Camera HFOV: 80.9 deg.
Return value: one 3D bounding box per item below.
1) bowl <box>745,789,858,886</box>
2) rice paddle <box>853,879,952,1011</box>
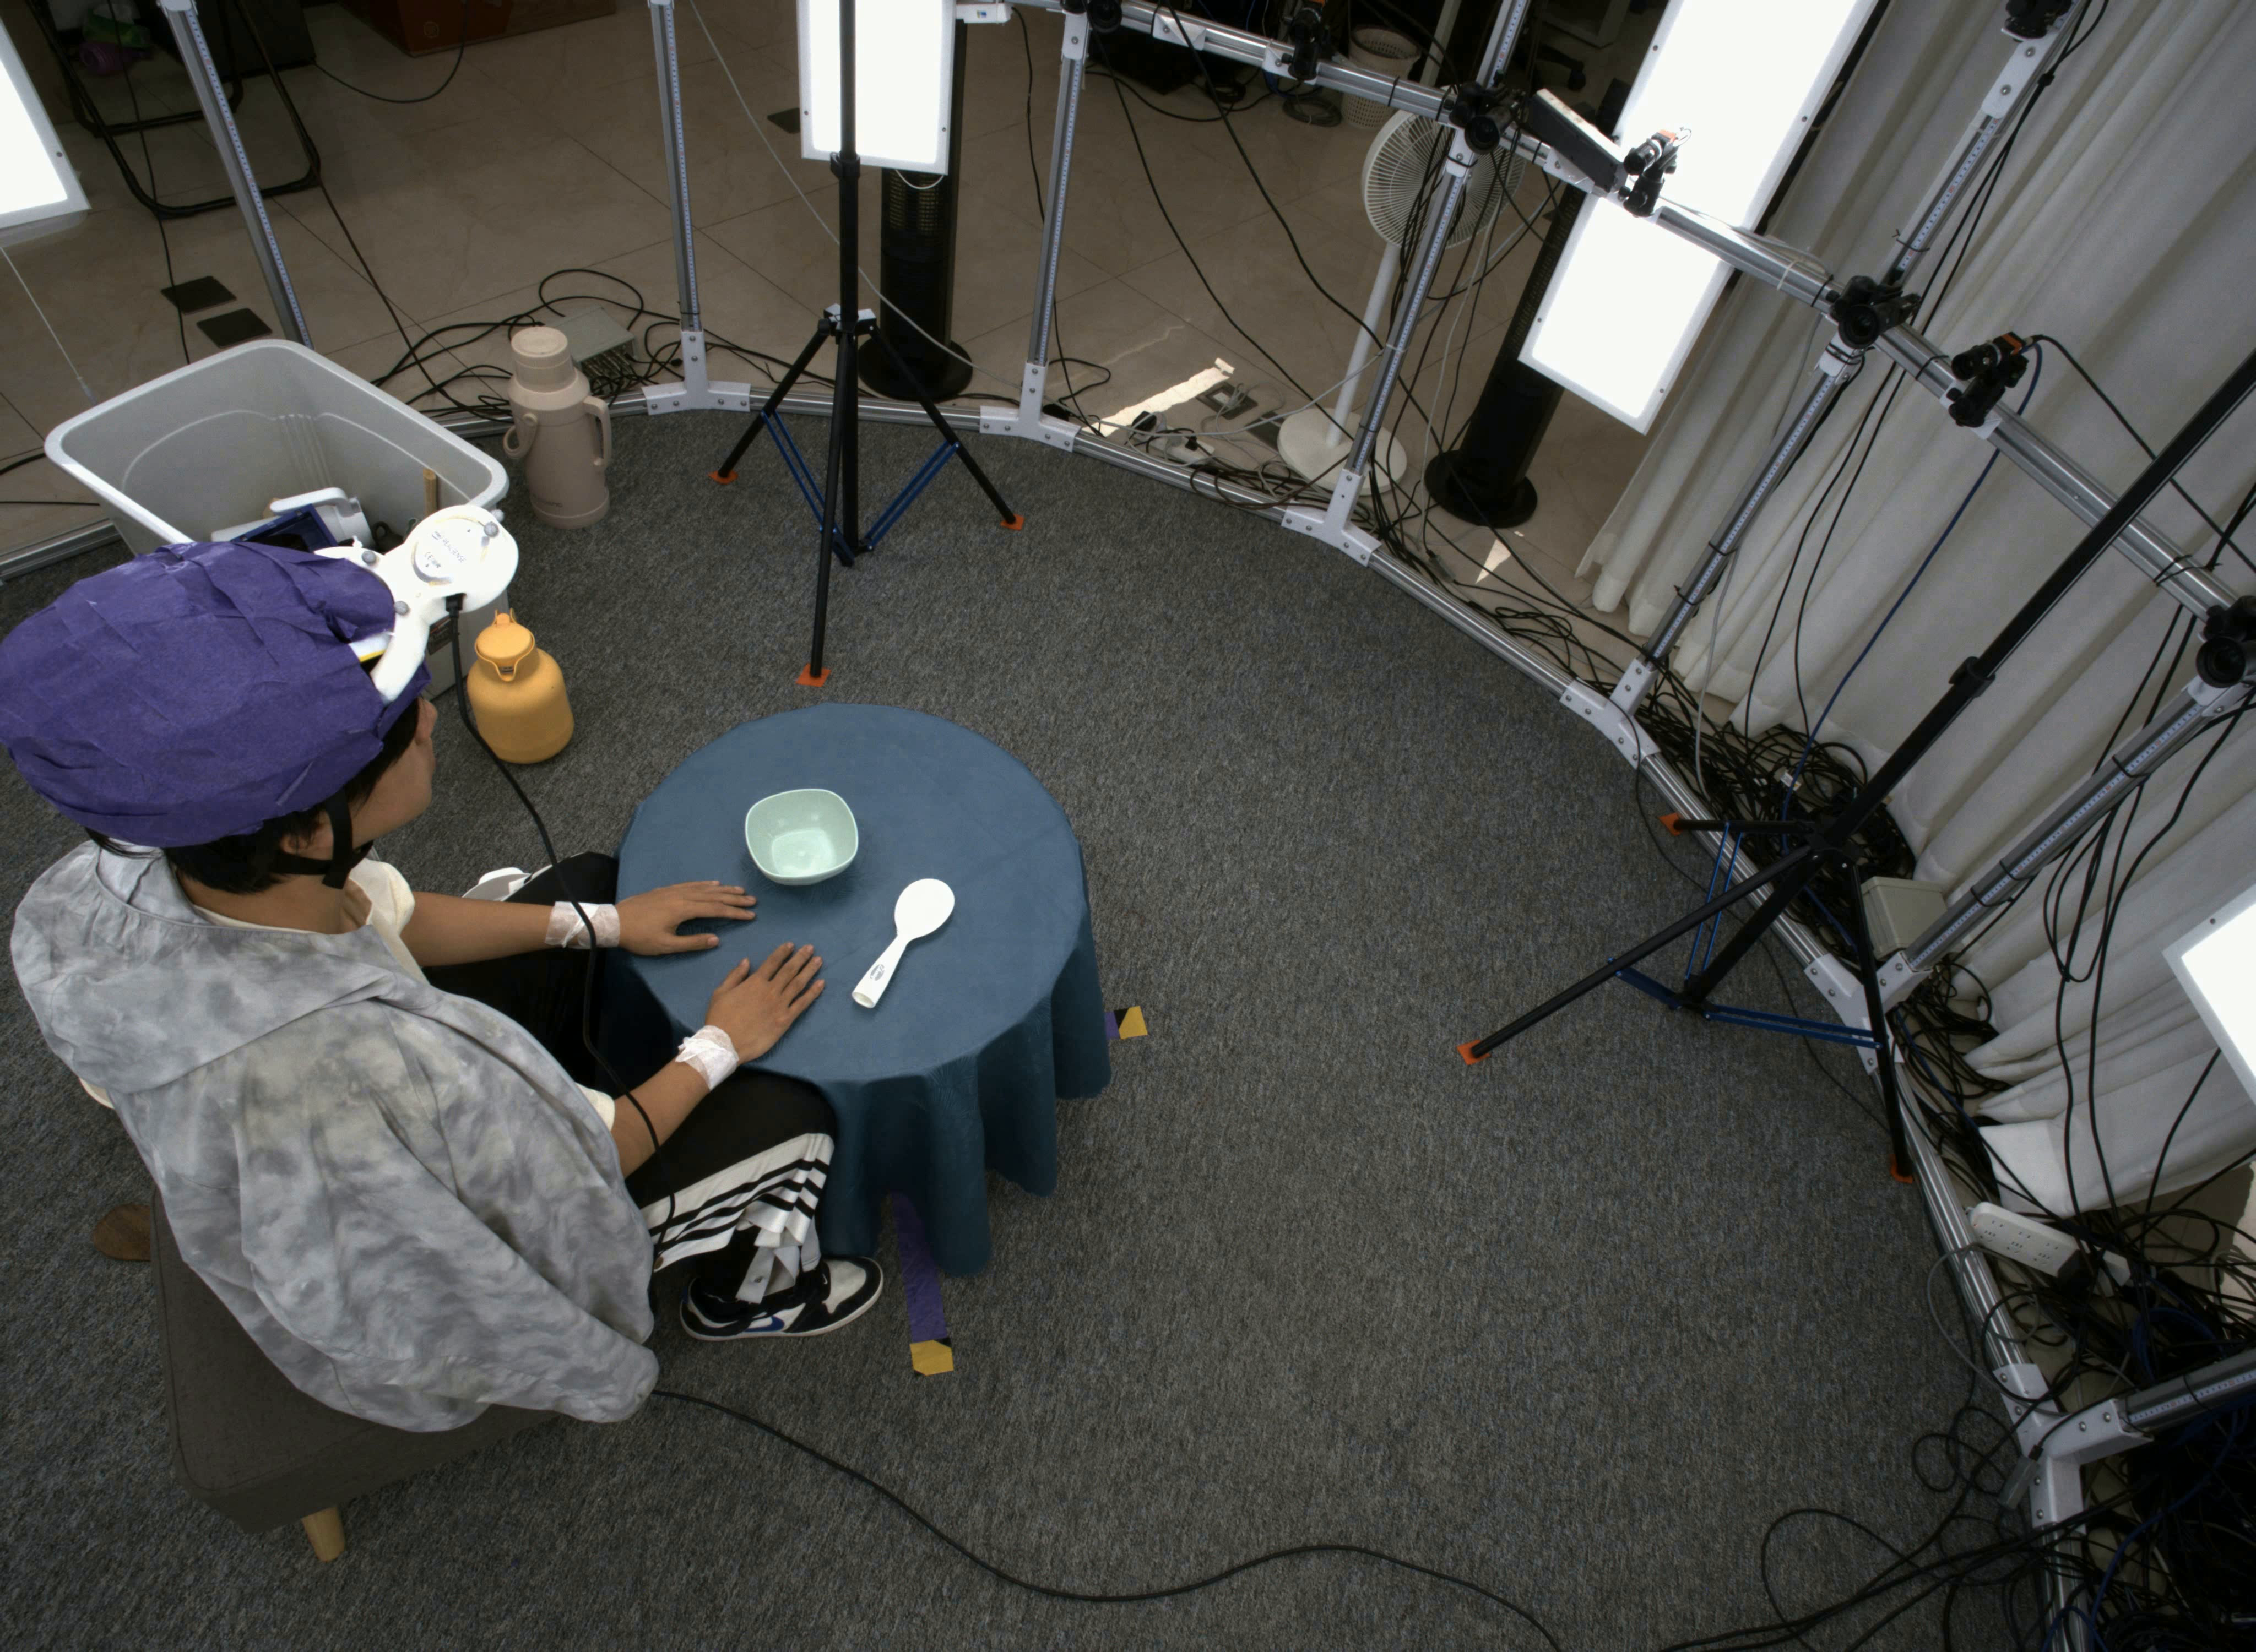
[{"bbox_3d":[-0.420,0.024,1.673,0.151,0.060,0.149,9,52,-10],"label":"bowl"},{"bbox_3d":[-0.284,0.140,1.637,0.068,0.030,0.204,25,52,4],"label":"rice paddle"}]
